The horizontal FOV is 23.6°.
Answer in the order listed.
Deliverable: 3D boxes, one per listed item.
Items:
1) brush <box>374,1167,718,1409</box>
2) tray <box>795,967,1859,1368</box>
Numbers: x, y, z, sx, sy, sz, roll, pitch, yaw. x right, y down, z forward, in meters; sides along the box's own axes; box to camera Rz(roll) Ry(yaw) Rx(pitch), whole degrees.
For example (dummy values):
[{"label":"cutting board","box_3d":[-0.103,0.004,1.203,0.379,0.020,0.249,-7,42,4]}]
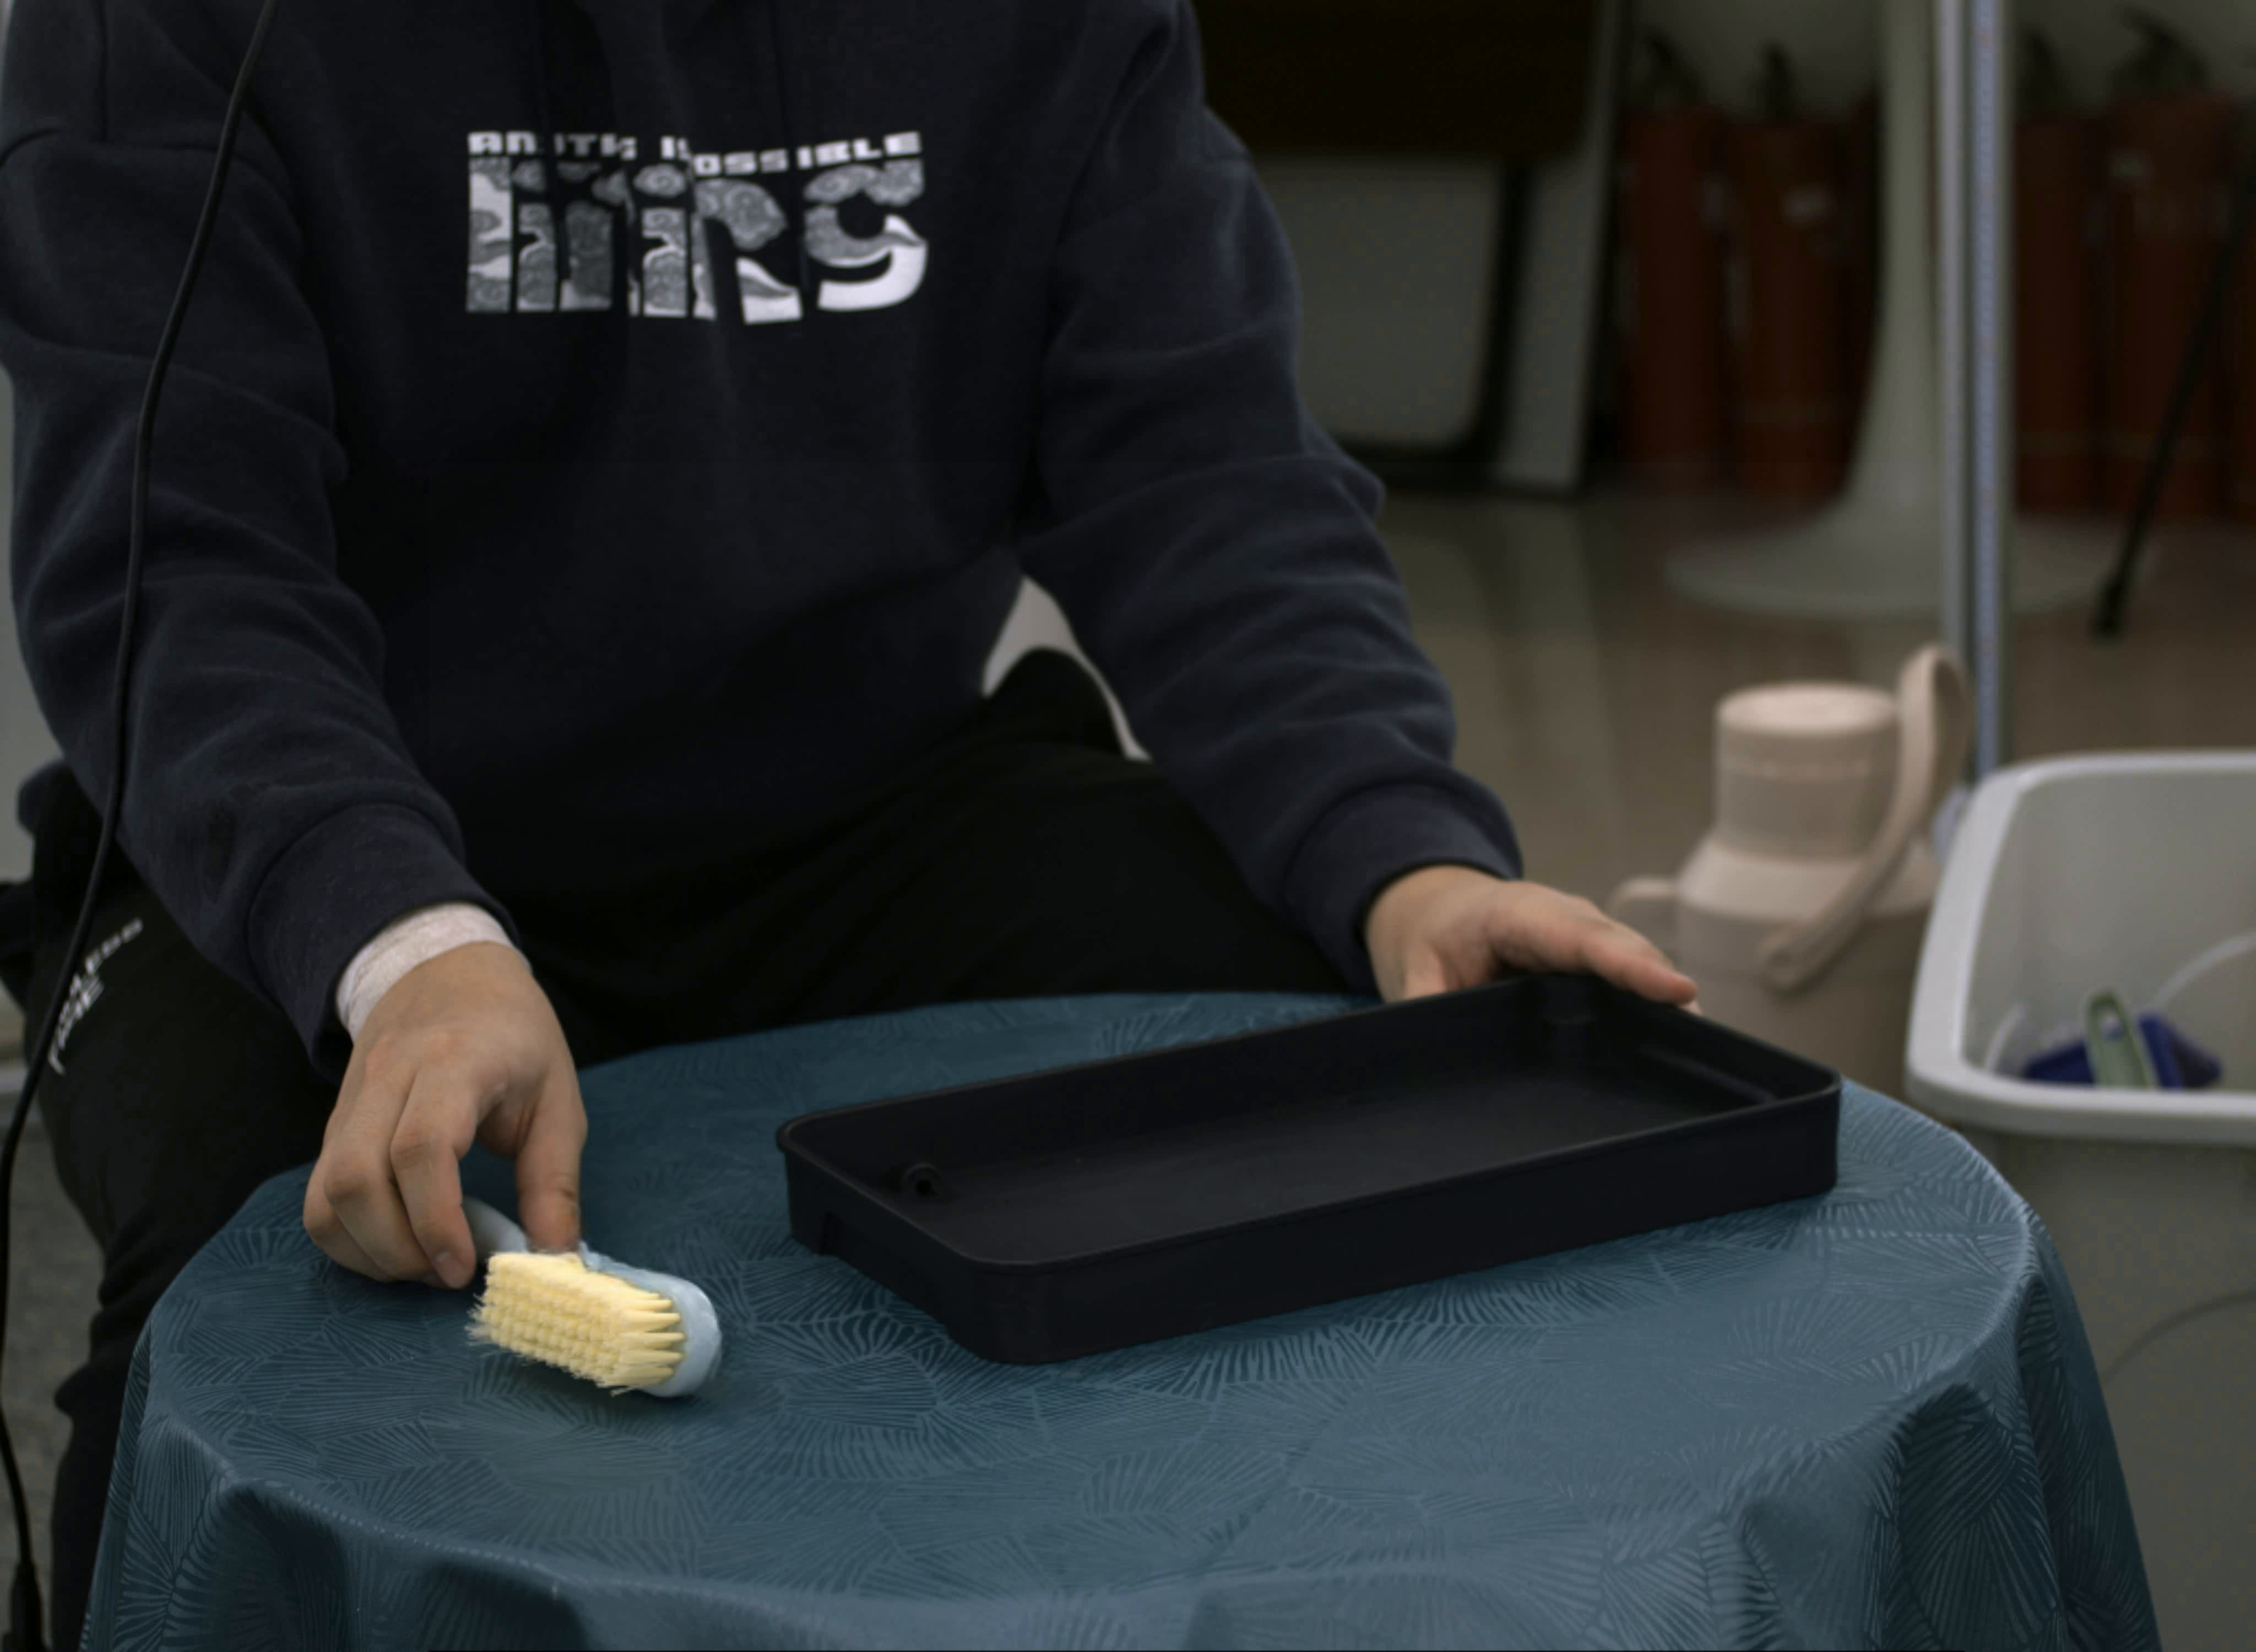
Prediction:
[{"label":"brush","box_3d":[-0.194,0.138,1.681,0.048,0.038,0.231,2,9,-29]},{"label":"tray","box_3d":[0.065,0.106,1.744,0.311,0.037,0.186,-11,15,-26]}]
